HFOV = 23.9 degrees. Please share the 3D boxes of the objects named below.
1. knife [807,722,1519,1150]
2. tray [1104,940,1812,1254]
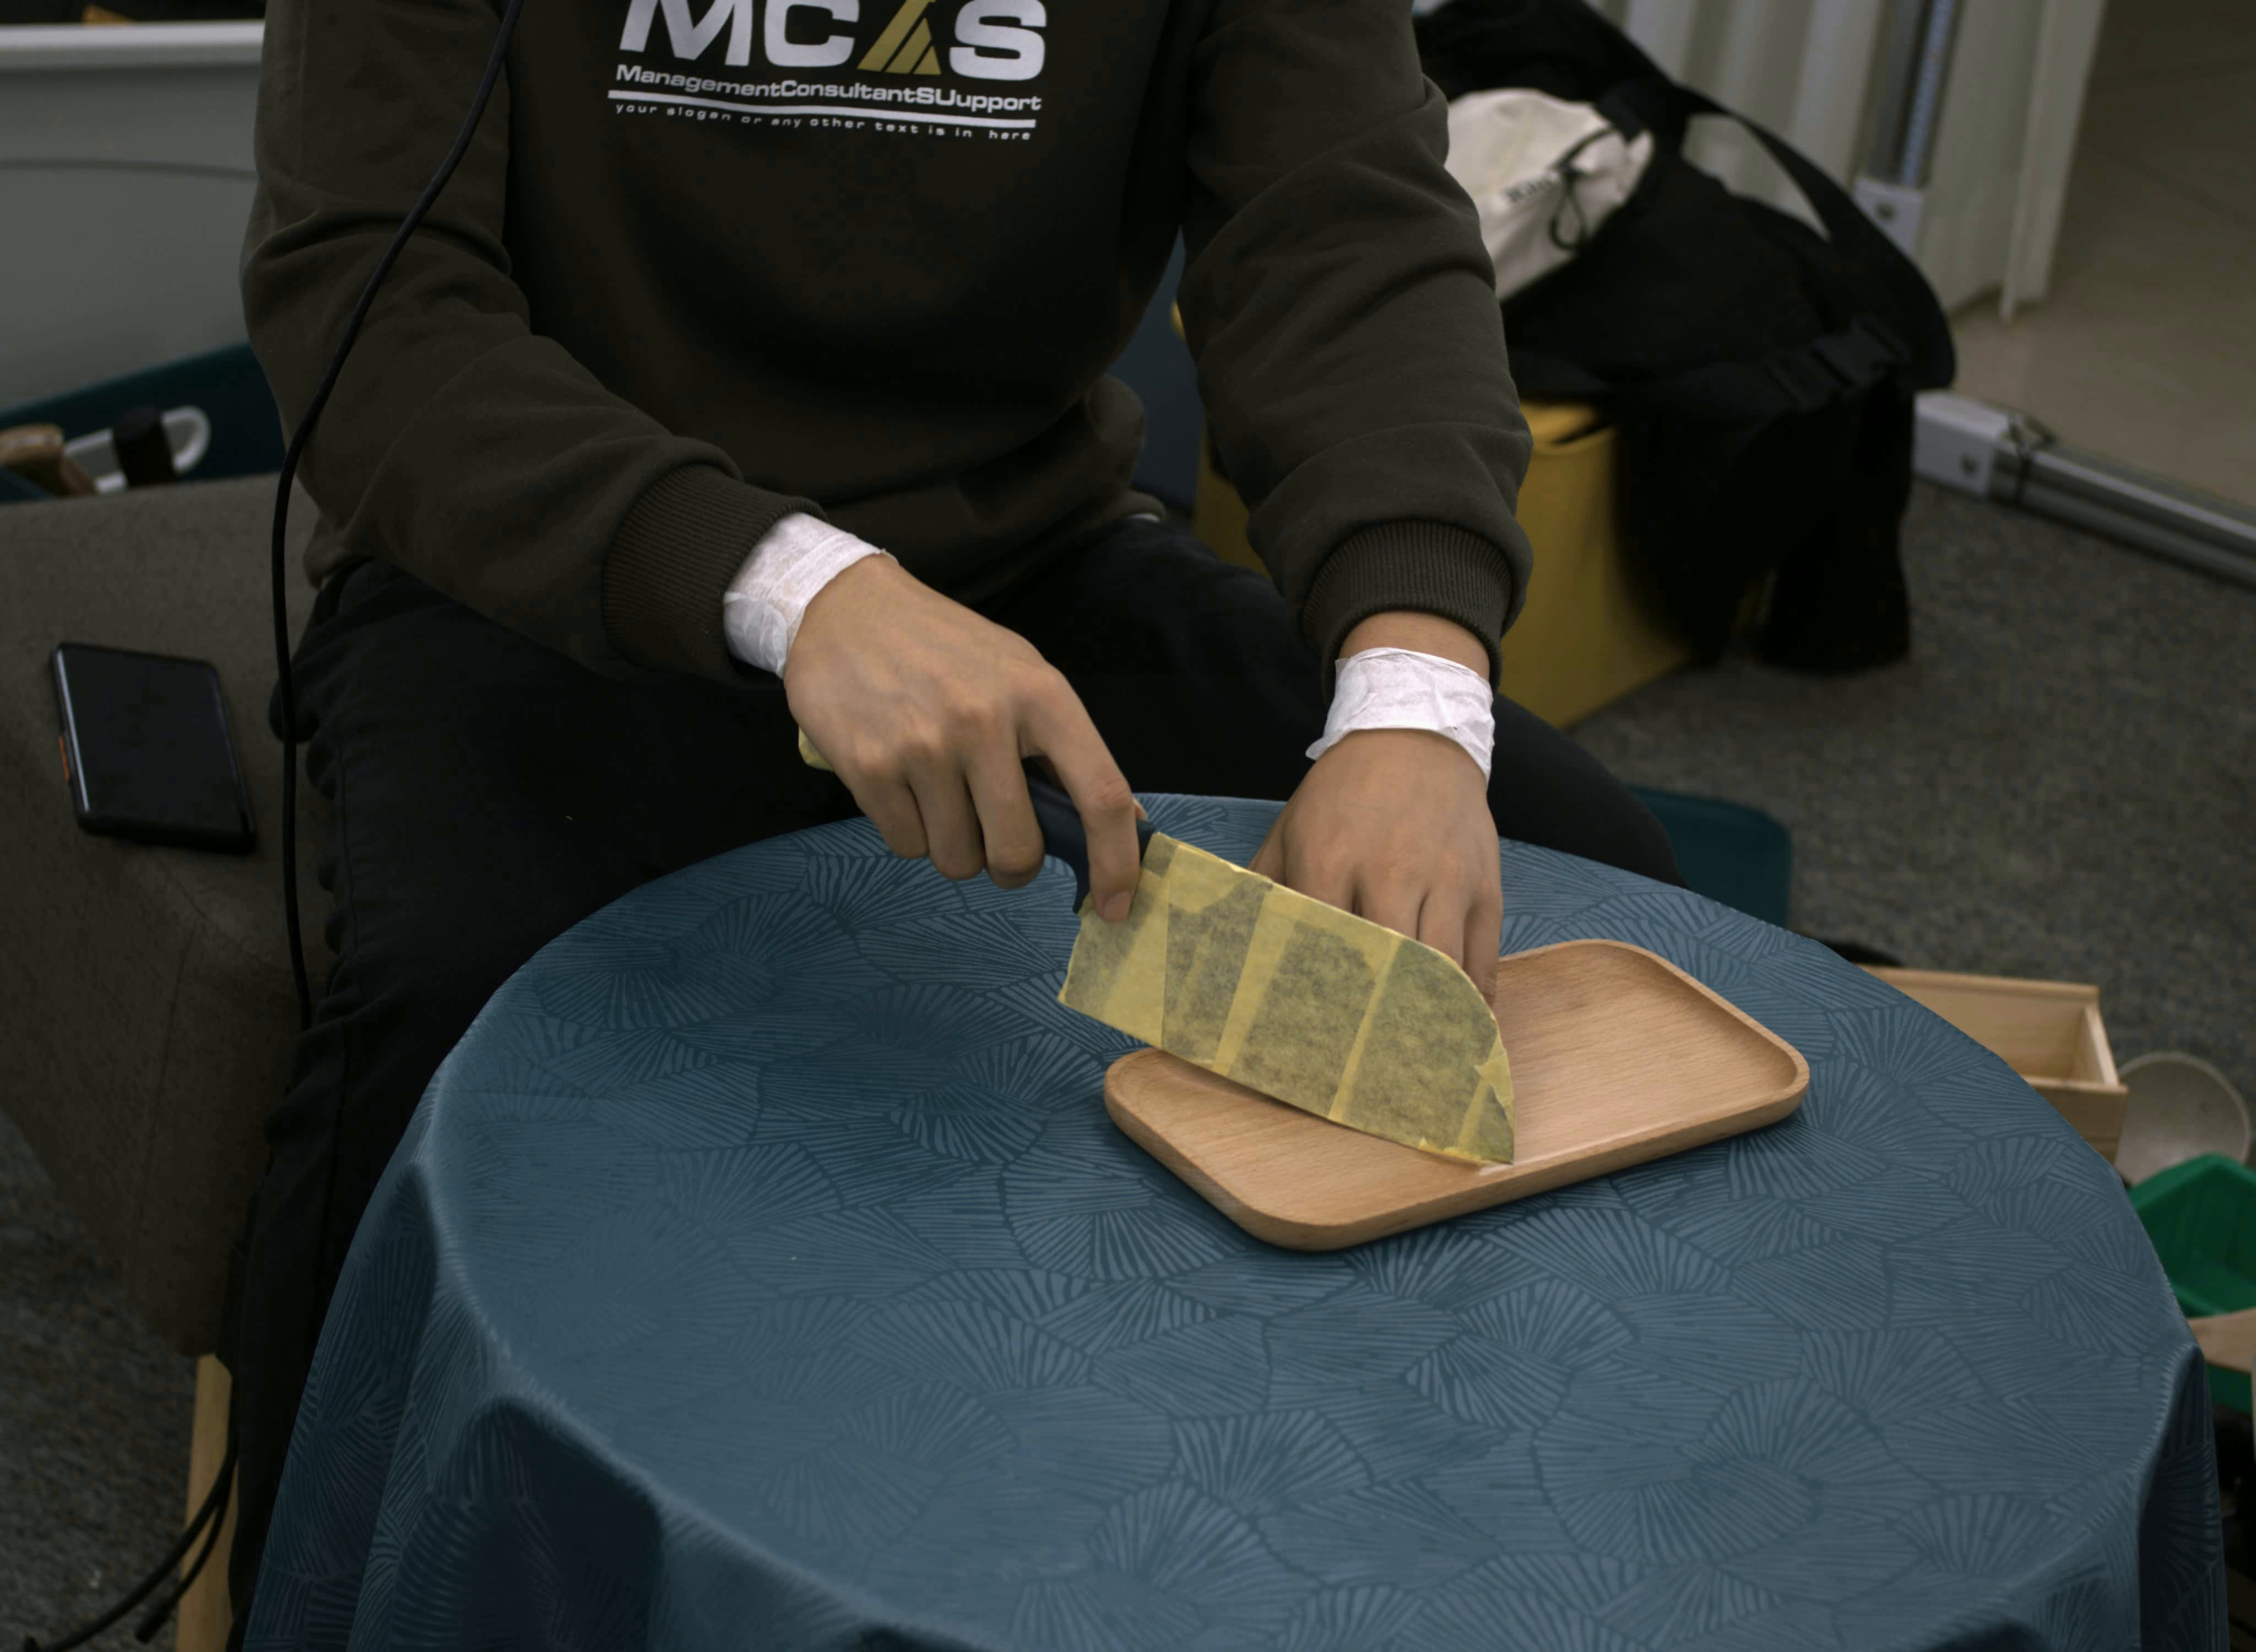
[{"bbox_3d":[0.009,0.037,1.859,0.290,0.081,0.027,26,15,18],"label":"knife"},{"bbox_3d":[0.117,0.094,1.872,0.249,0.023,0.131,-13,30,-33],"label":"tray"}]
